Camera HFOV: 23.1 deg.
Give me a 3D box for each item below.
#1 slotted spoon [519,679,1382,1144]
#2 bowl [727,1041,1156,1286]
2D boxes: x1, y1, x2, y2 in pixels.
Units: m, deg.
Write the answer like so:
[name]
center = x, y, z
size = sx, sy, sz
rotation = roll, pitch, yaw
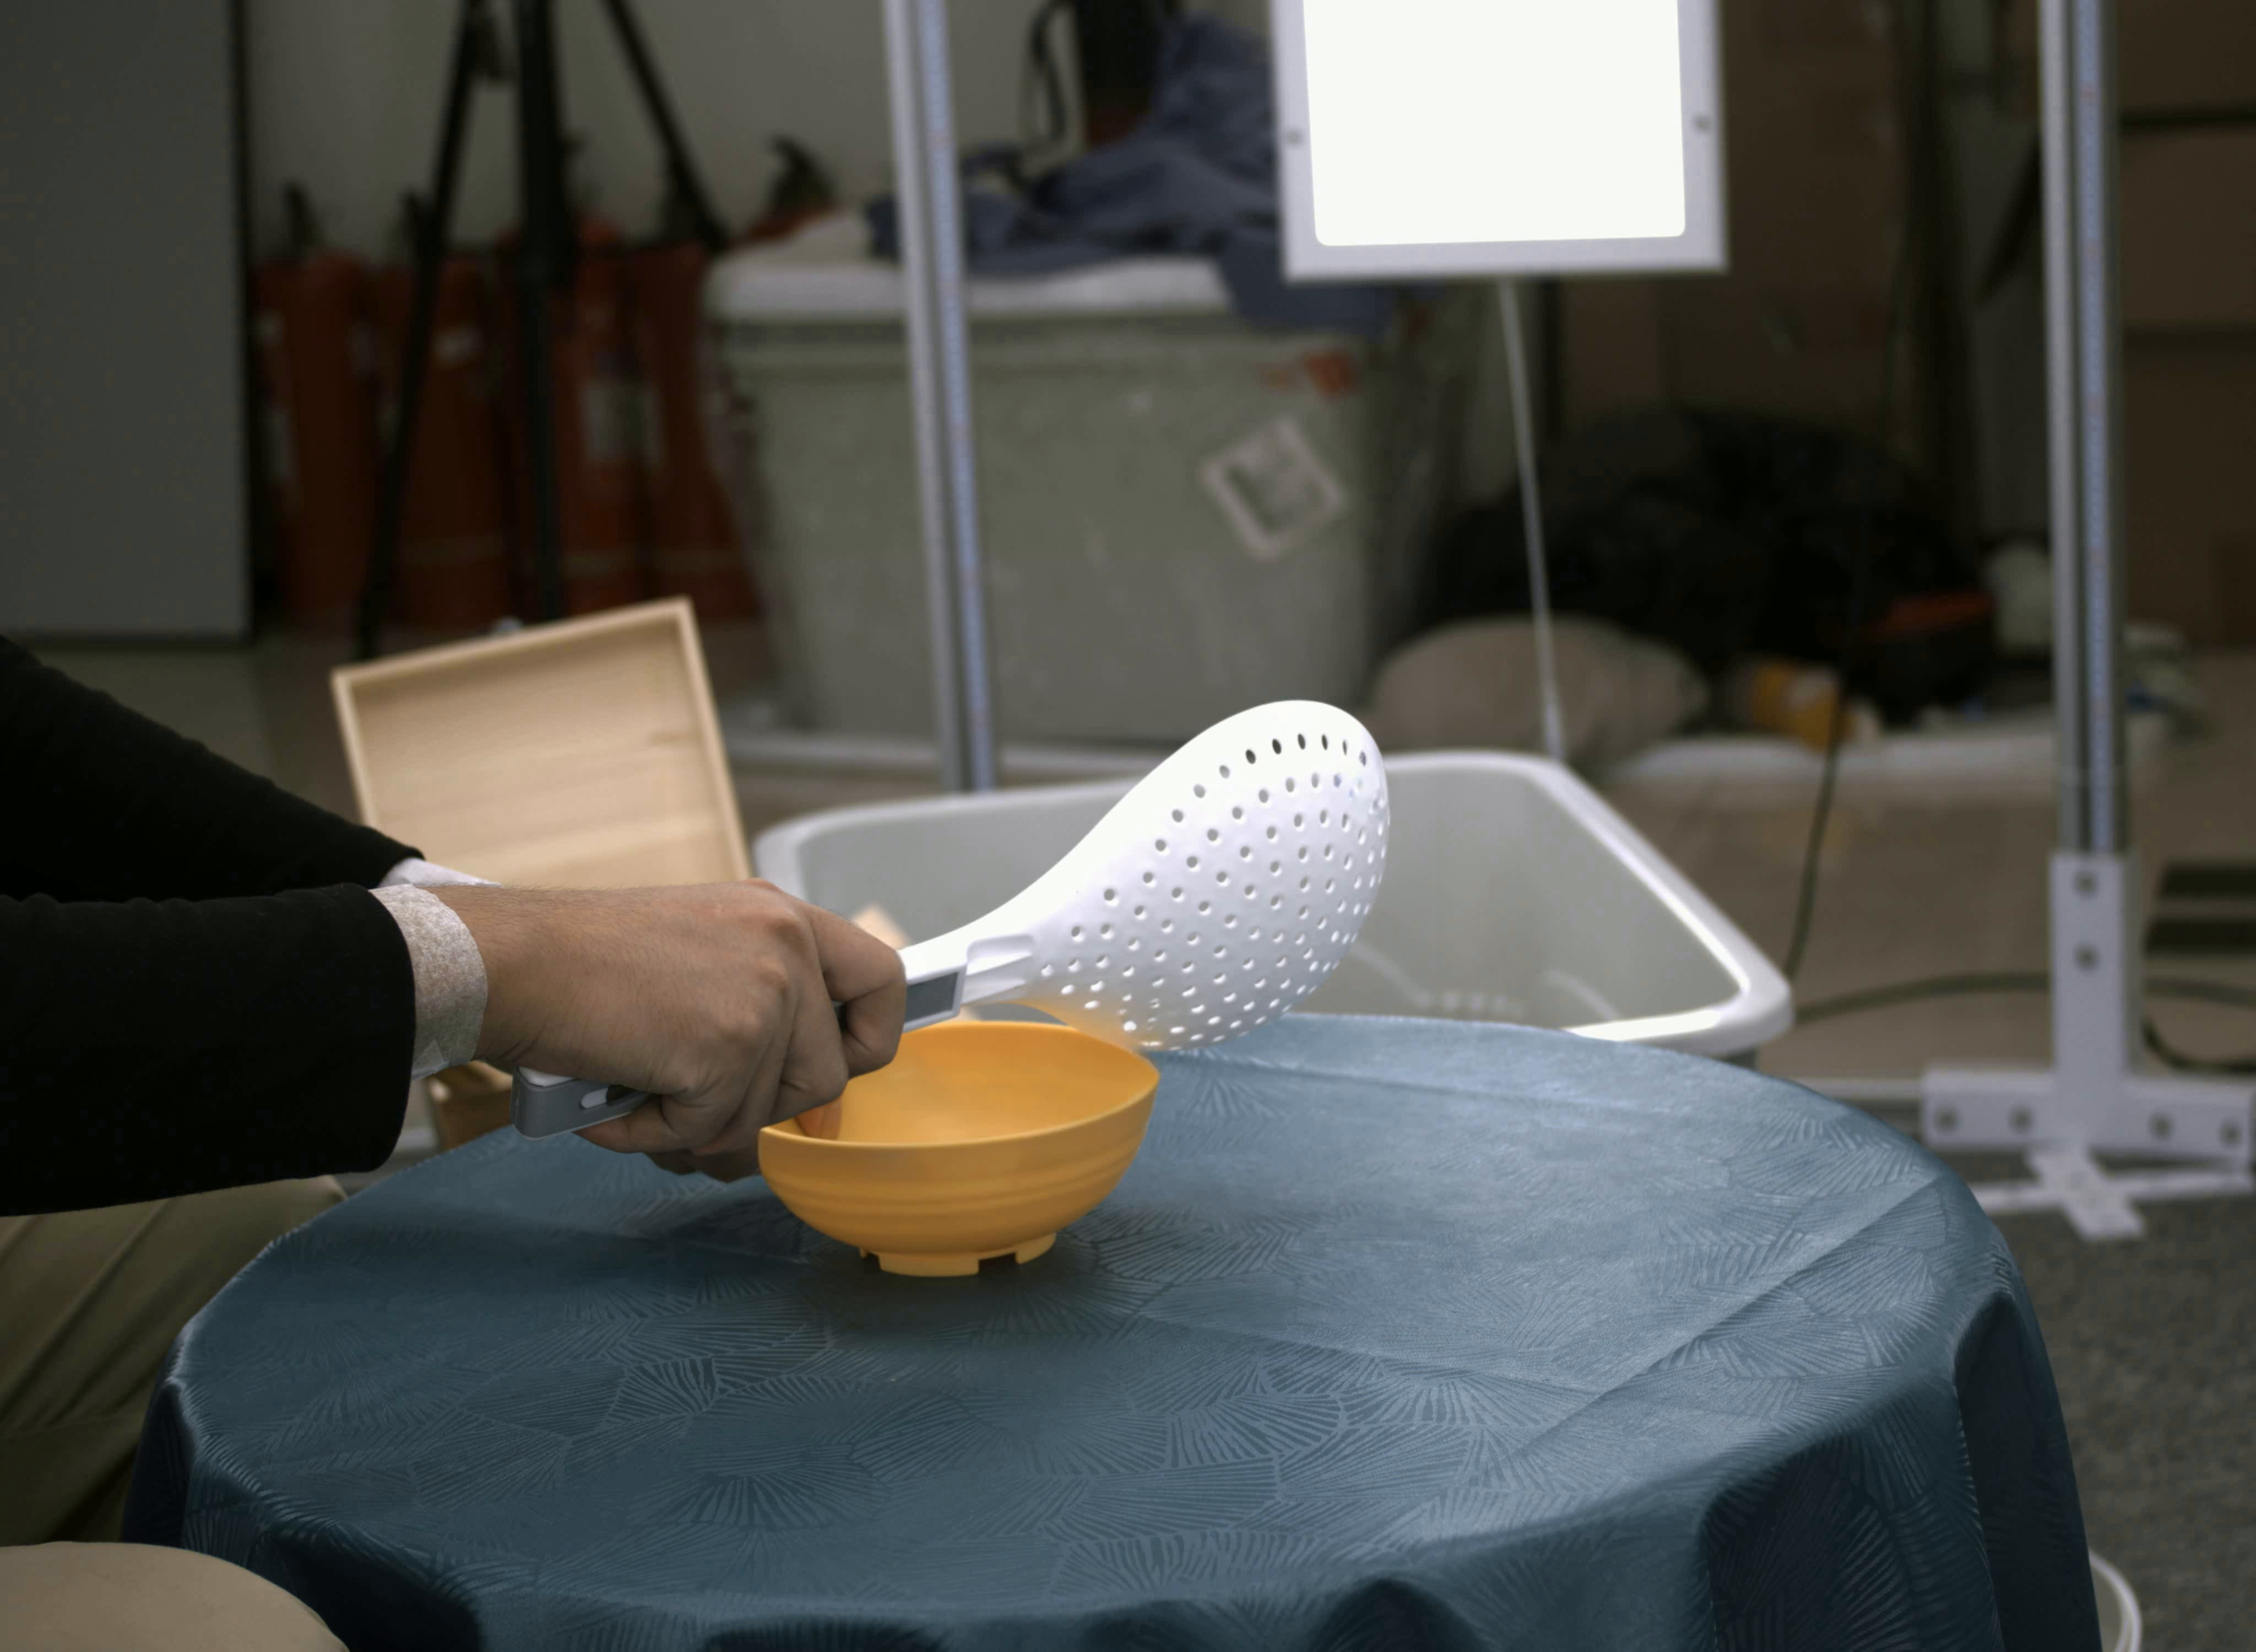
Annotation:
[slotted spoon]
center = -0.047, 0.042, 1.776
size = 0.342, 0.137, 0.046
rotation = -14, 36, -30
[bowl]
center = -0.061, 0.117, 1.850
size = 0.145, 0.060, 0.145
rotation = -5, 11, 0
